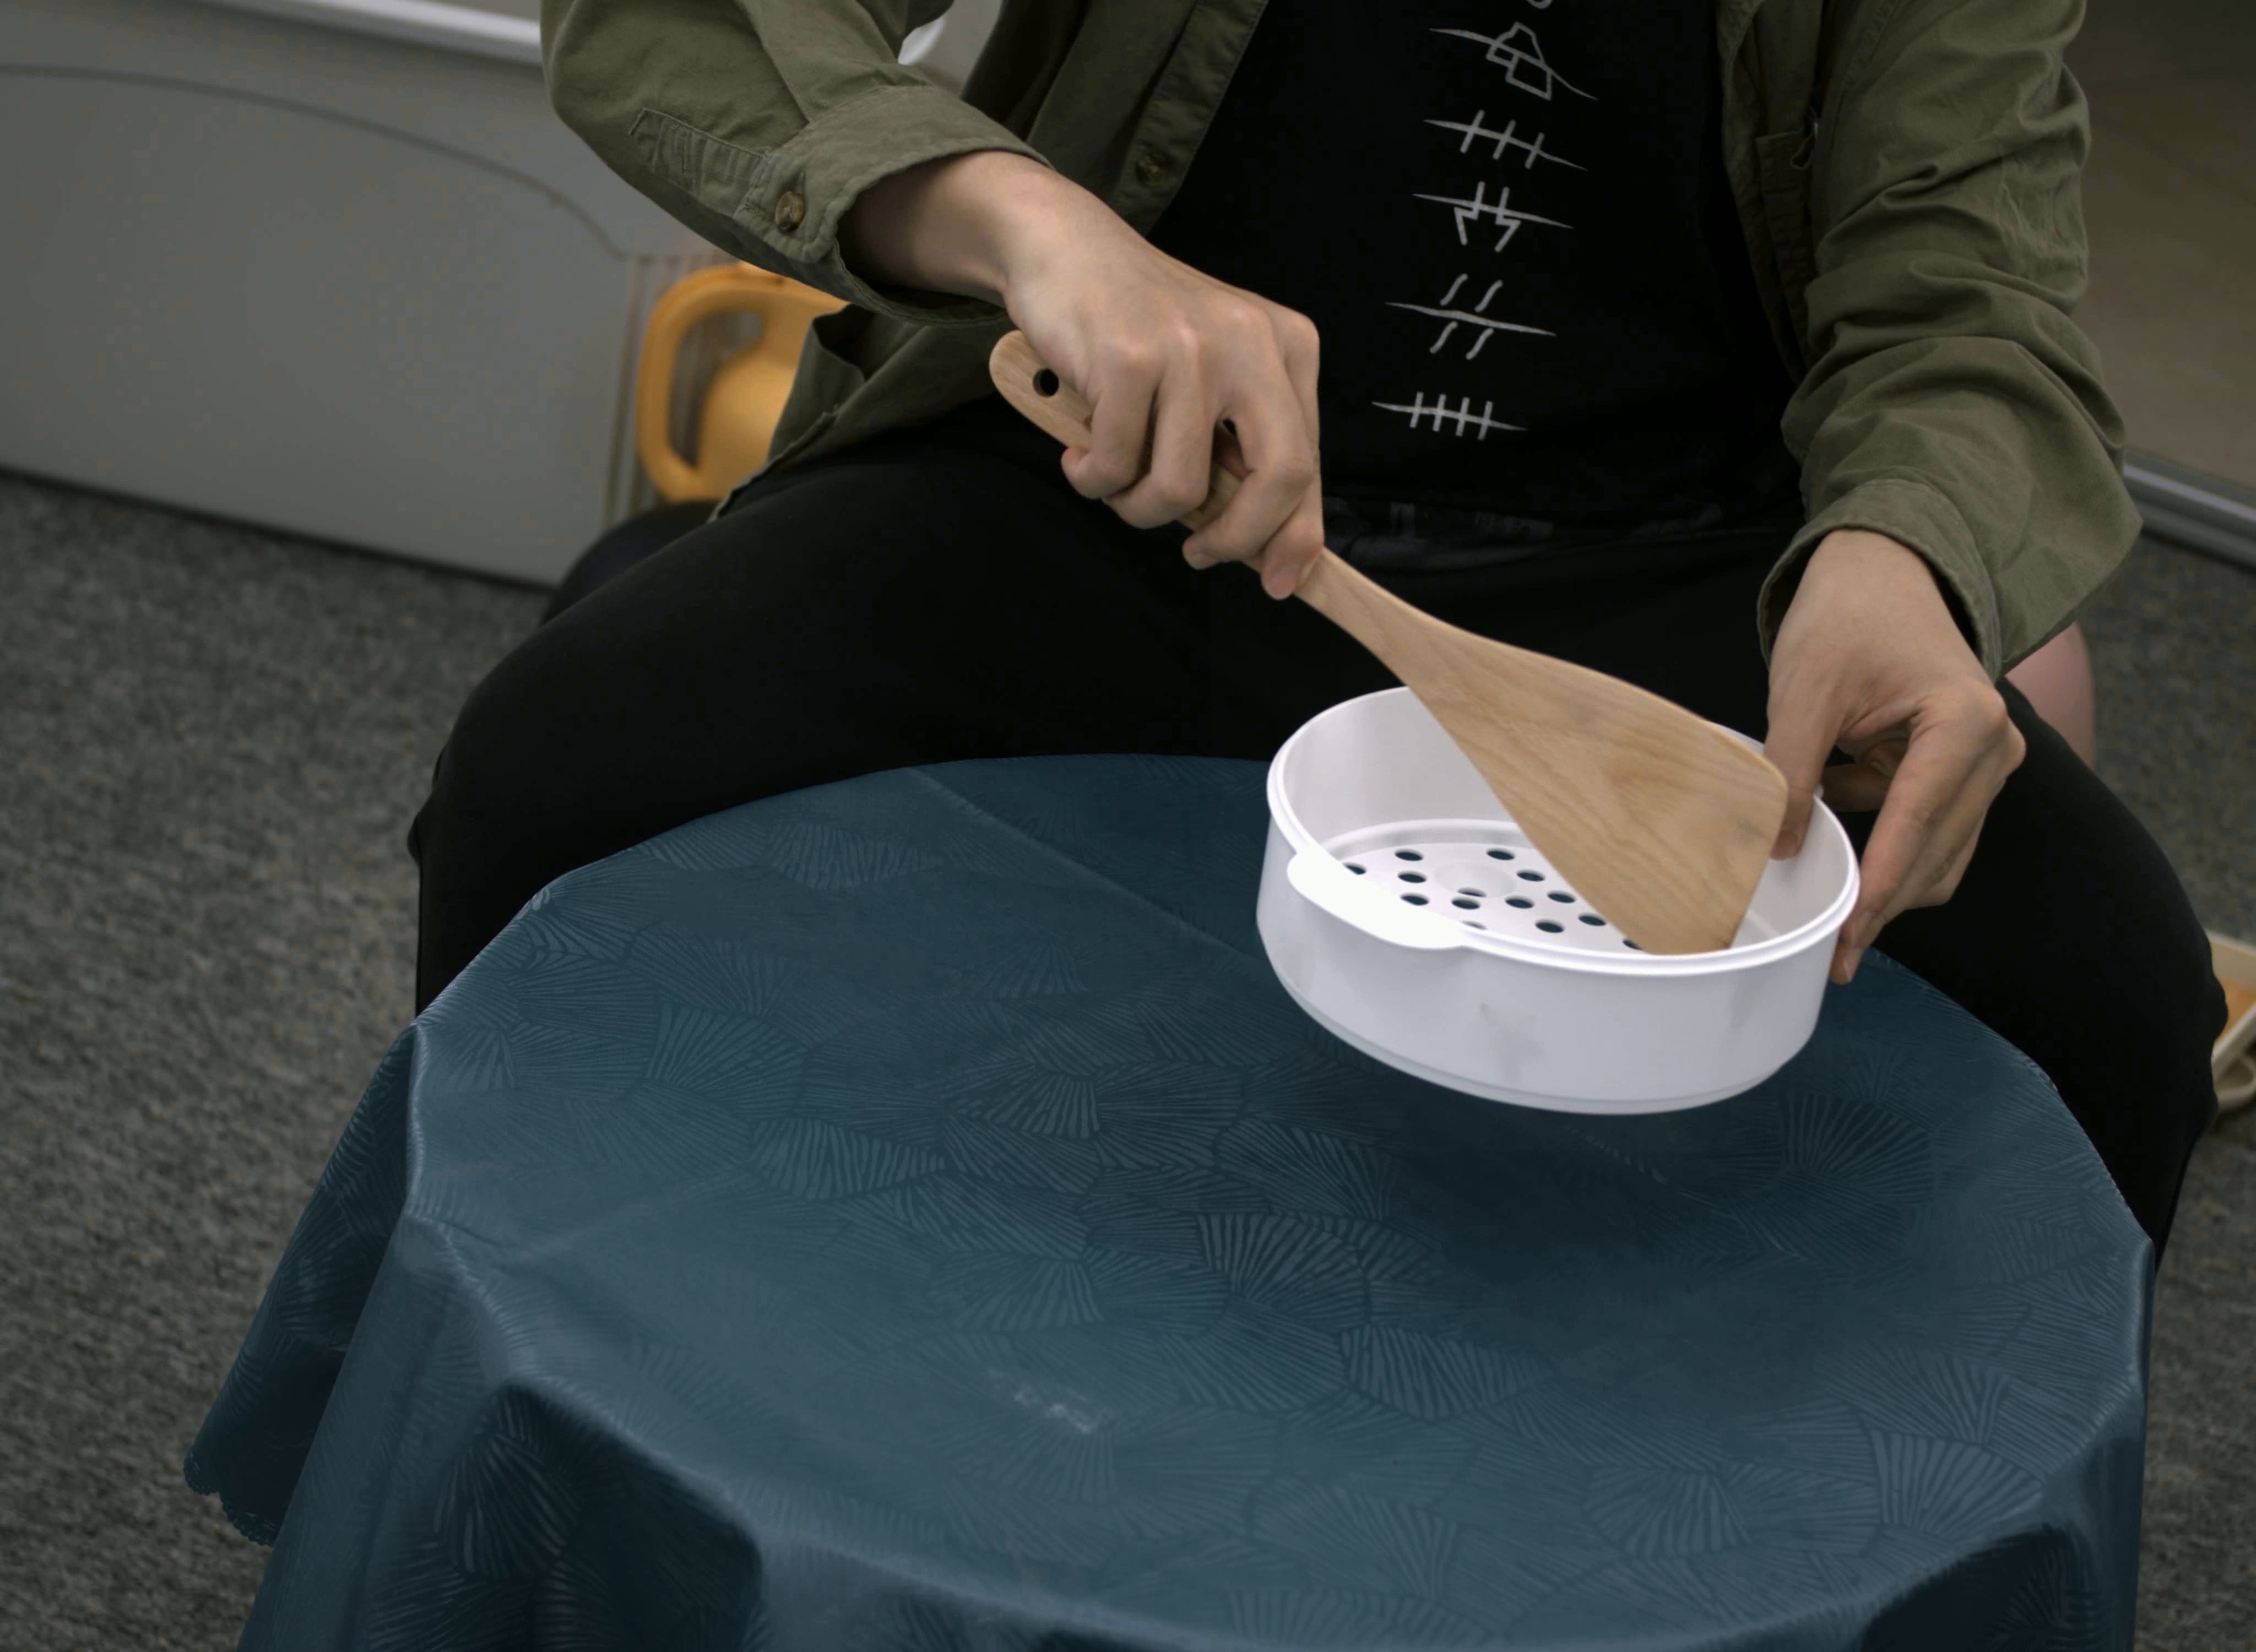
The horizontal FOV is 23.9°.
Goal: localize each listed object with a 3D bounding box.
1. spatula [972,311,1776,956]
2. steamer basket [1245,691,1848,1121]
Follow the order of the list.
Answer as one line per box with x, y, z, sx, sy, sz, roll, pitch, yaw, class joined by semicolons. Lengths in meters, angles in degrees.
0.077;-0.078;1.788;0.328;0.080;0.016;36;22;13;spatula
0.137;0.028;1.792;0.203;0.069;0.229;30;32;35;steamer basket
